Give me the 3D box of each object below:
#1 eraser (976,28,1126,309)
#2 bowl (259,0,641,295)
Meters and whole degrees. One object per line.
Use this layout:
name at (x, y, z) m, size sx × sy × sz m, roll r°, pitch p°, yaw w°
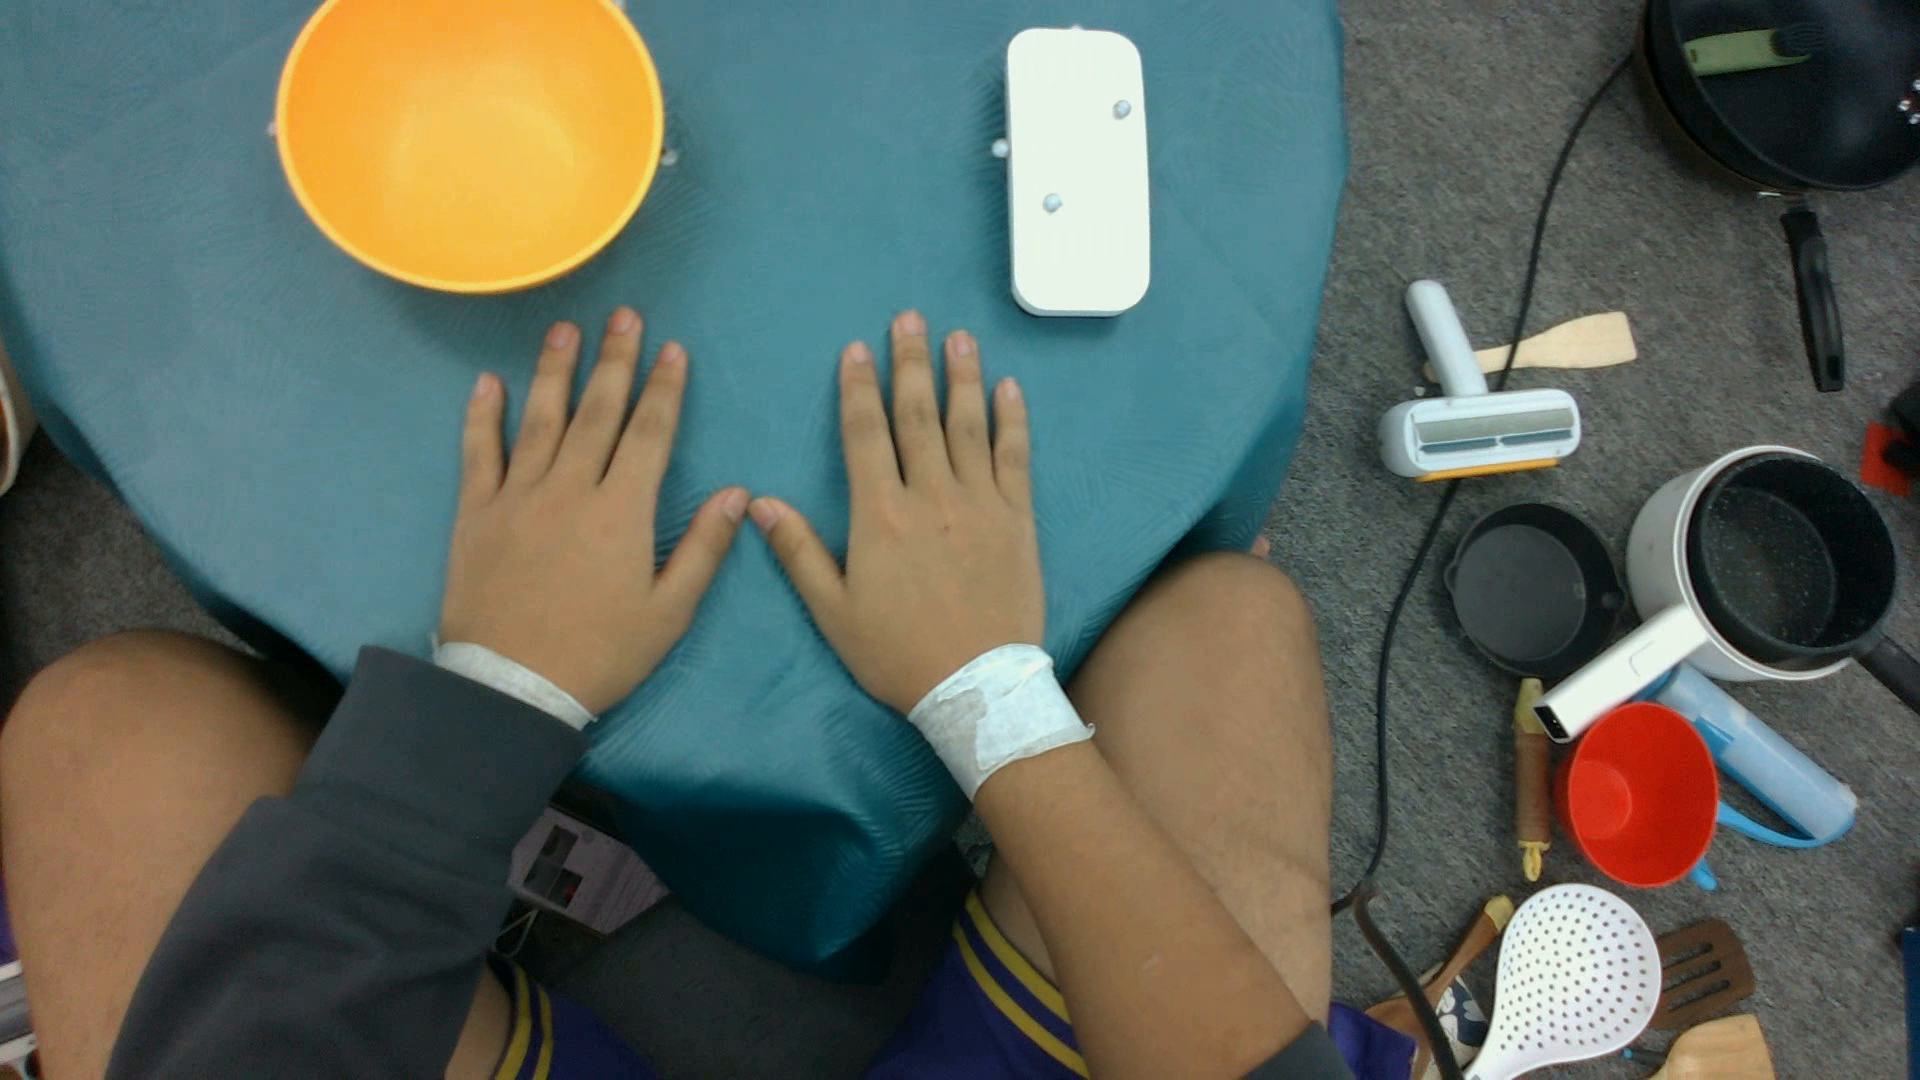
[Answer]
eraser at (0.039, -0.169, 0.625) m, size 0.063 × 0.034 × 0.131 m, roll -1°, pitch 79°, yaw -9°
bowl at (-0.204, -0.163, 0.571) m, size 0.145 × 0.060 × 0.145 m, roll 1°, pitch 82°, yaw -9°
